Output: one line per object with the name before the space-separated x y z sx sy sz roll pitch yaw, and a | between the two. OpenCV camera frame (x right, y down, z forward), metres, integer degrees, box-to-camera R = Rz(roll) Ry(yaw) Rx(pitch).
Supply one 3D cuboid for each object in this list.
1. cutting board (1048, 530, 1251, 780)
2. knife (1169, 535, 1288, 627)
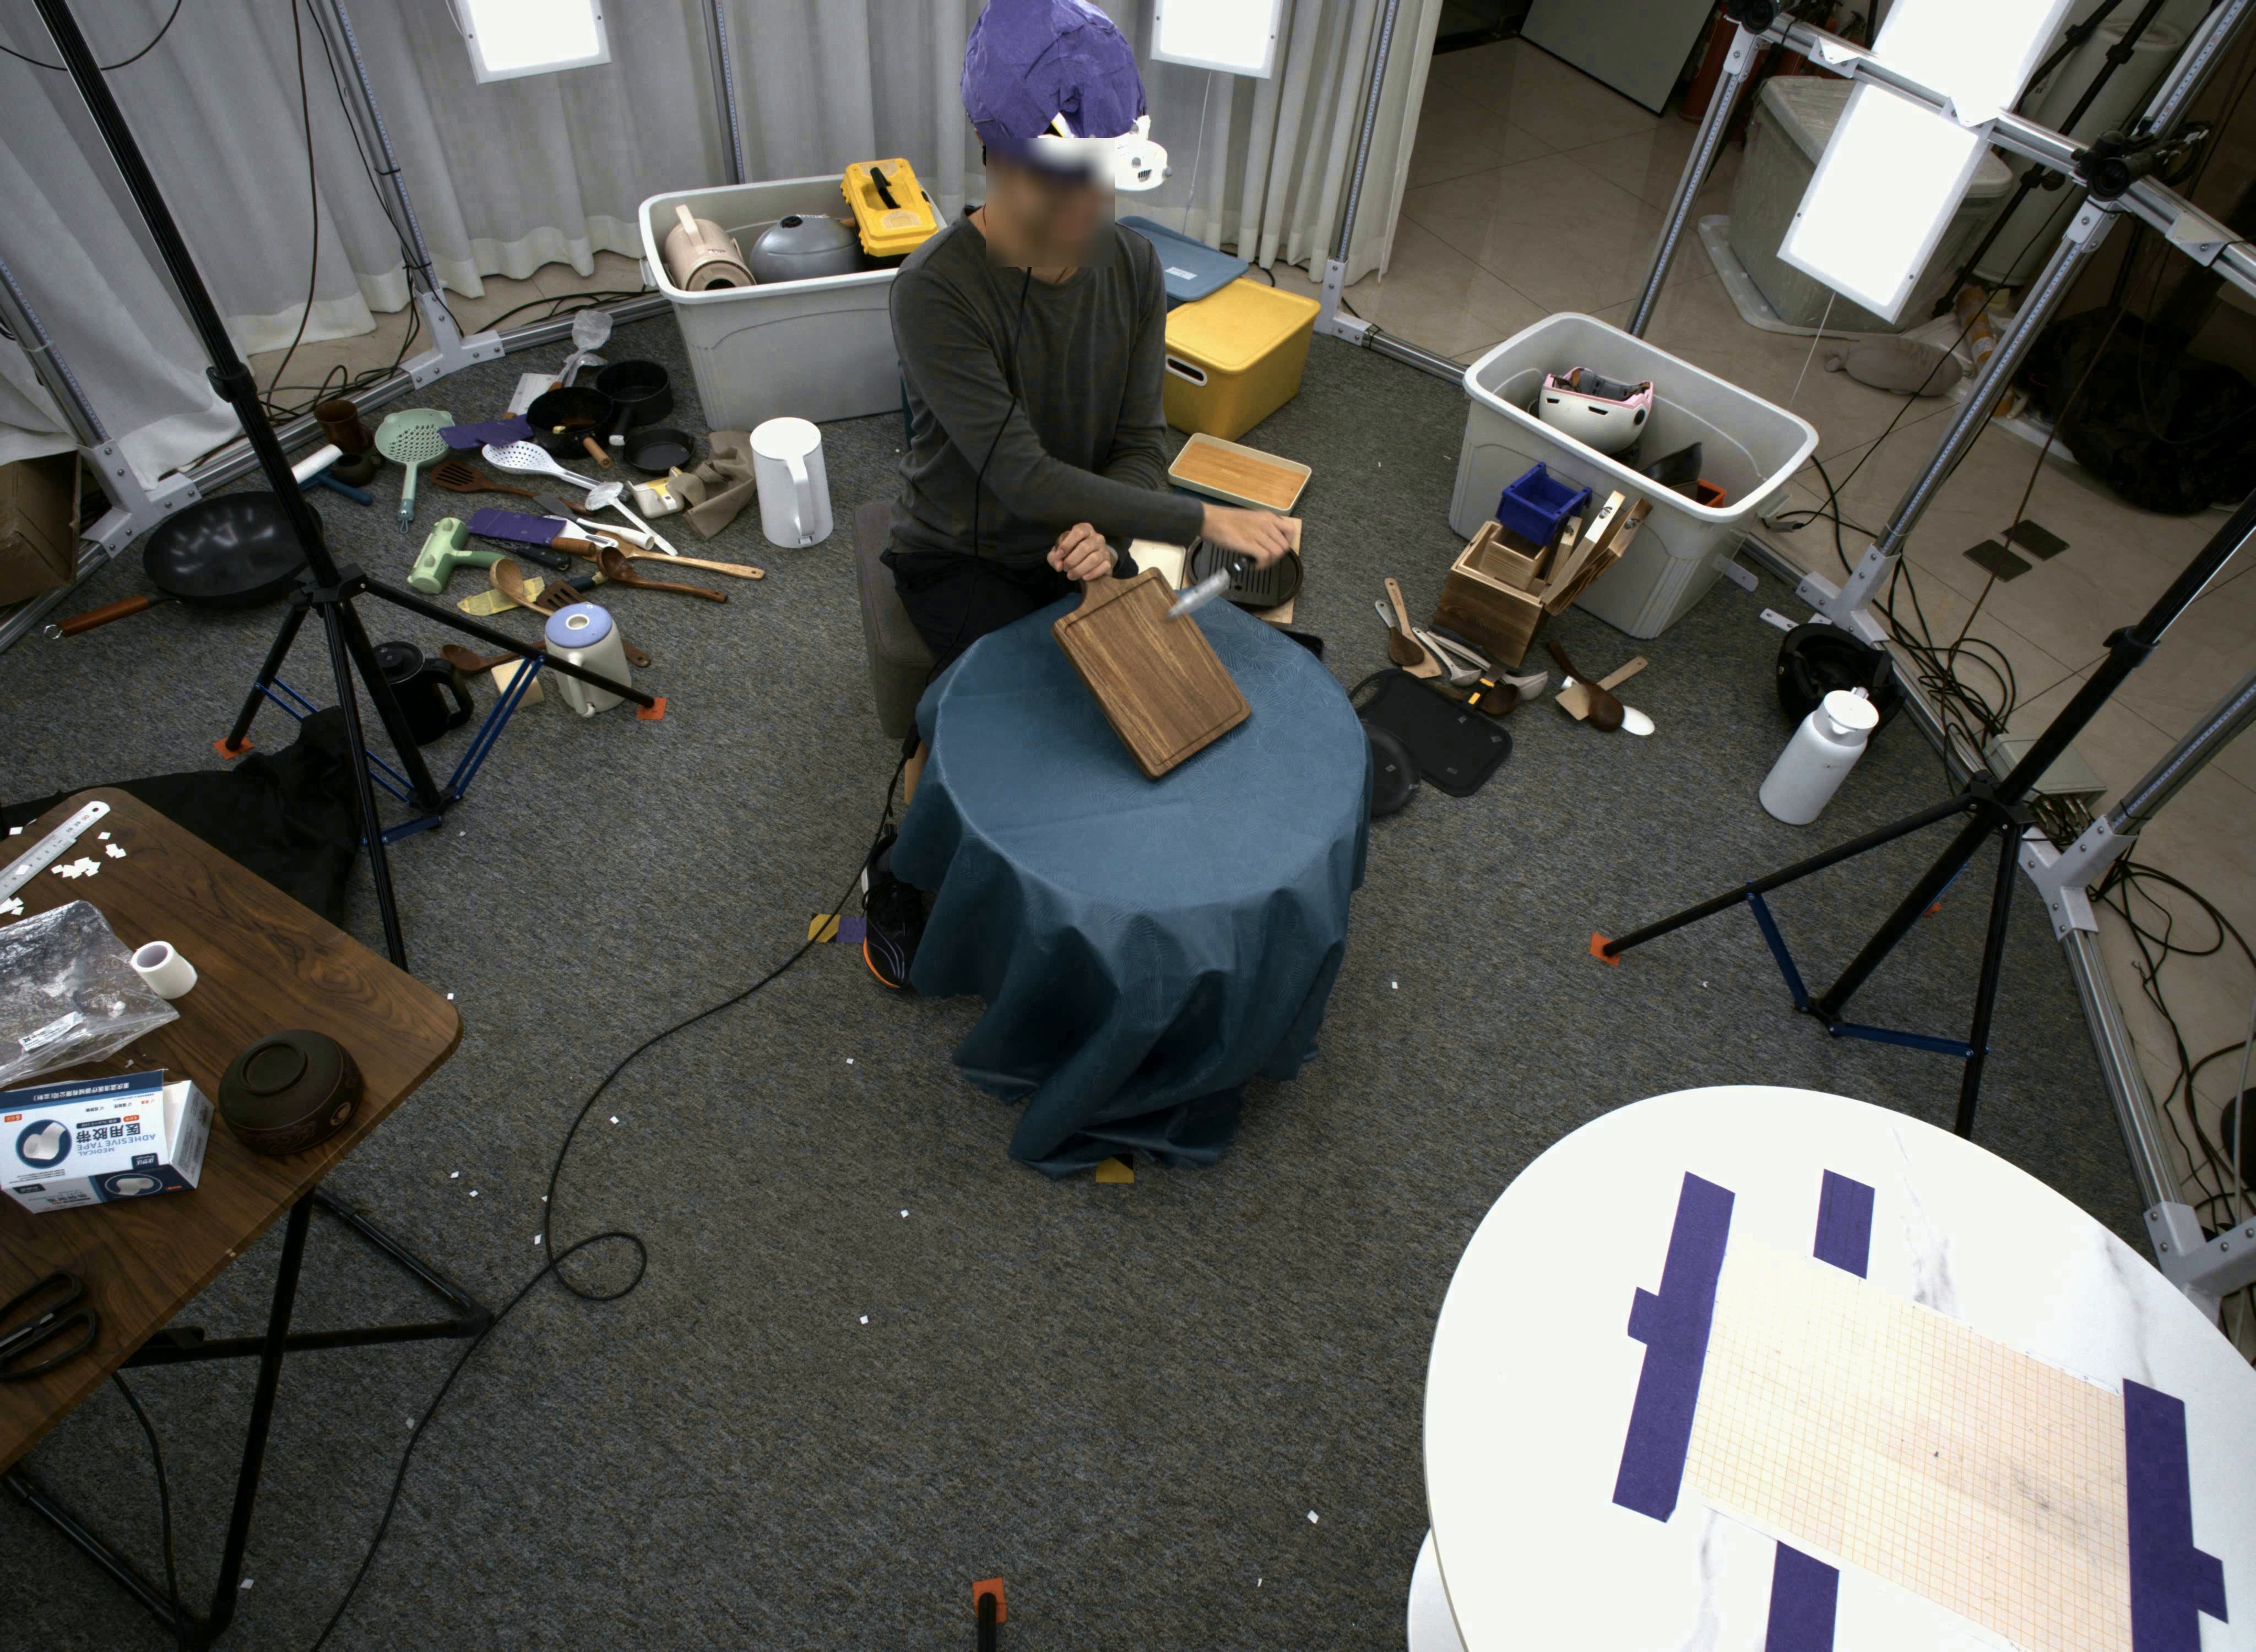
cutting board | 0.006 -0.254 1.761 0.203 0.023 0.352 -34 89 -29
knife | 0.141 -0.348 1.821 0.240 0.016 0.024 -39 91 -23
